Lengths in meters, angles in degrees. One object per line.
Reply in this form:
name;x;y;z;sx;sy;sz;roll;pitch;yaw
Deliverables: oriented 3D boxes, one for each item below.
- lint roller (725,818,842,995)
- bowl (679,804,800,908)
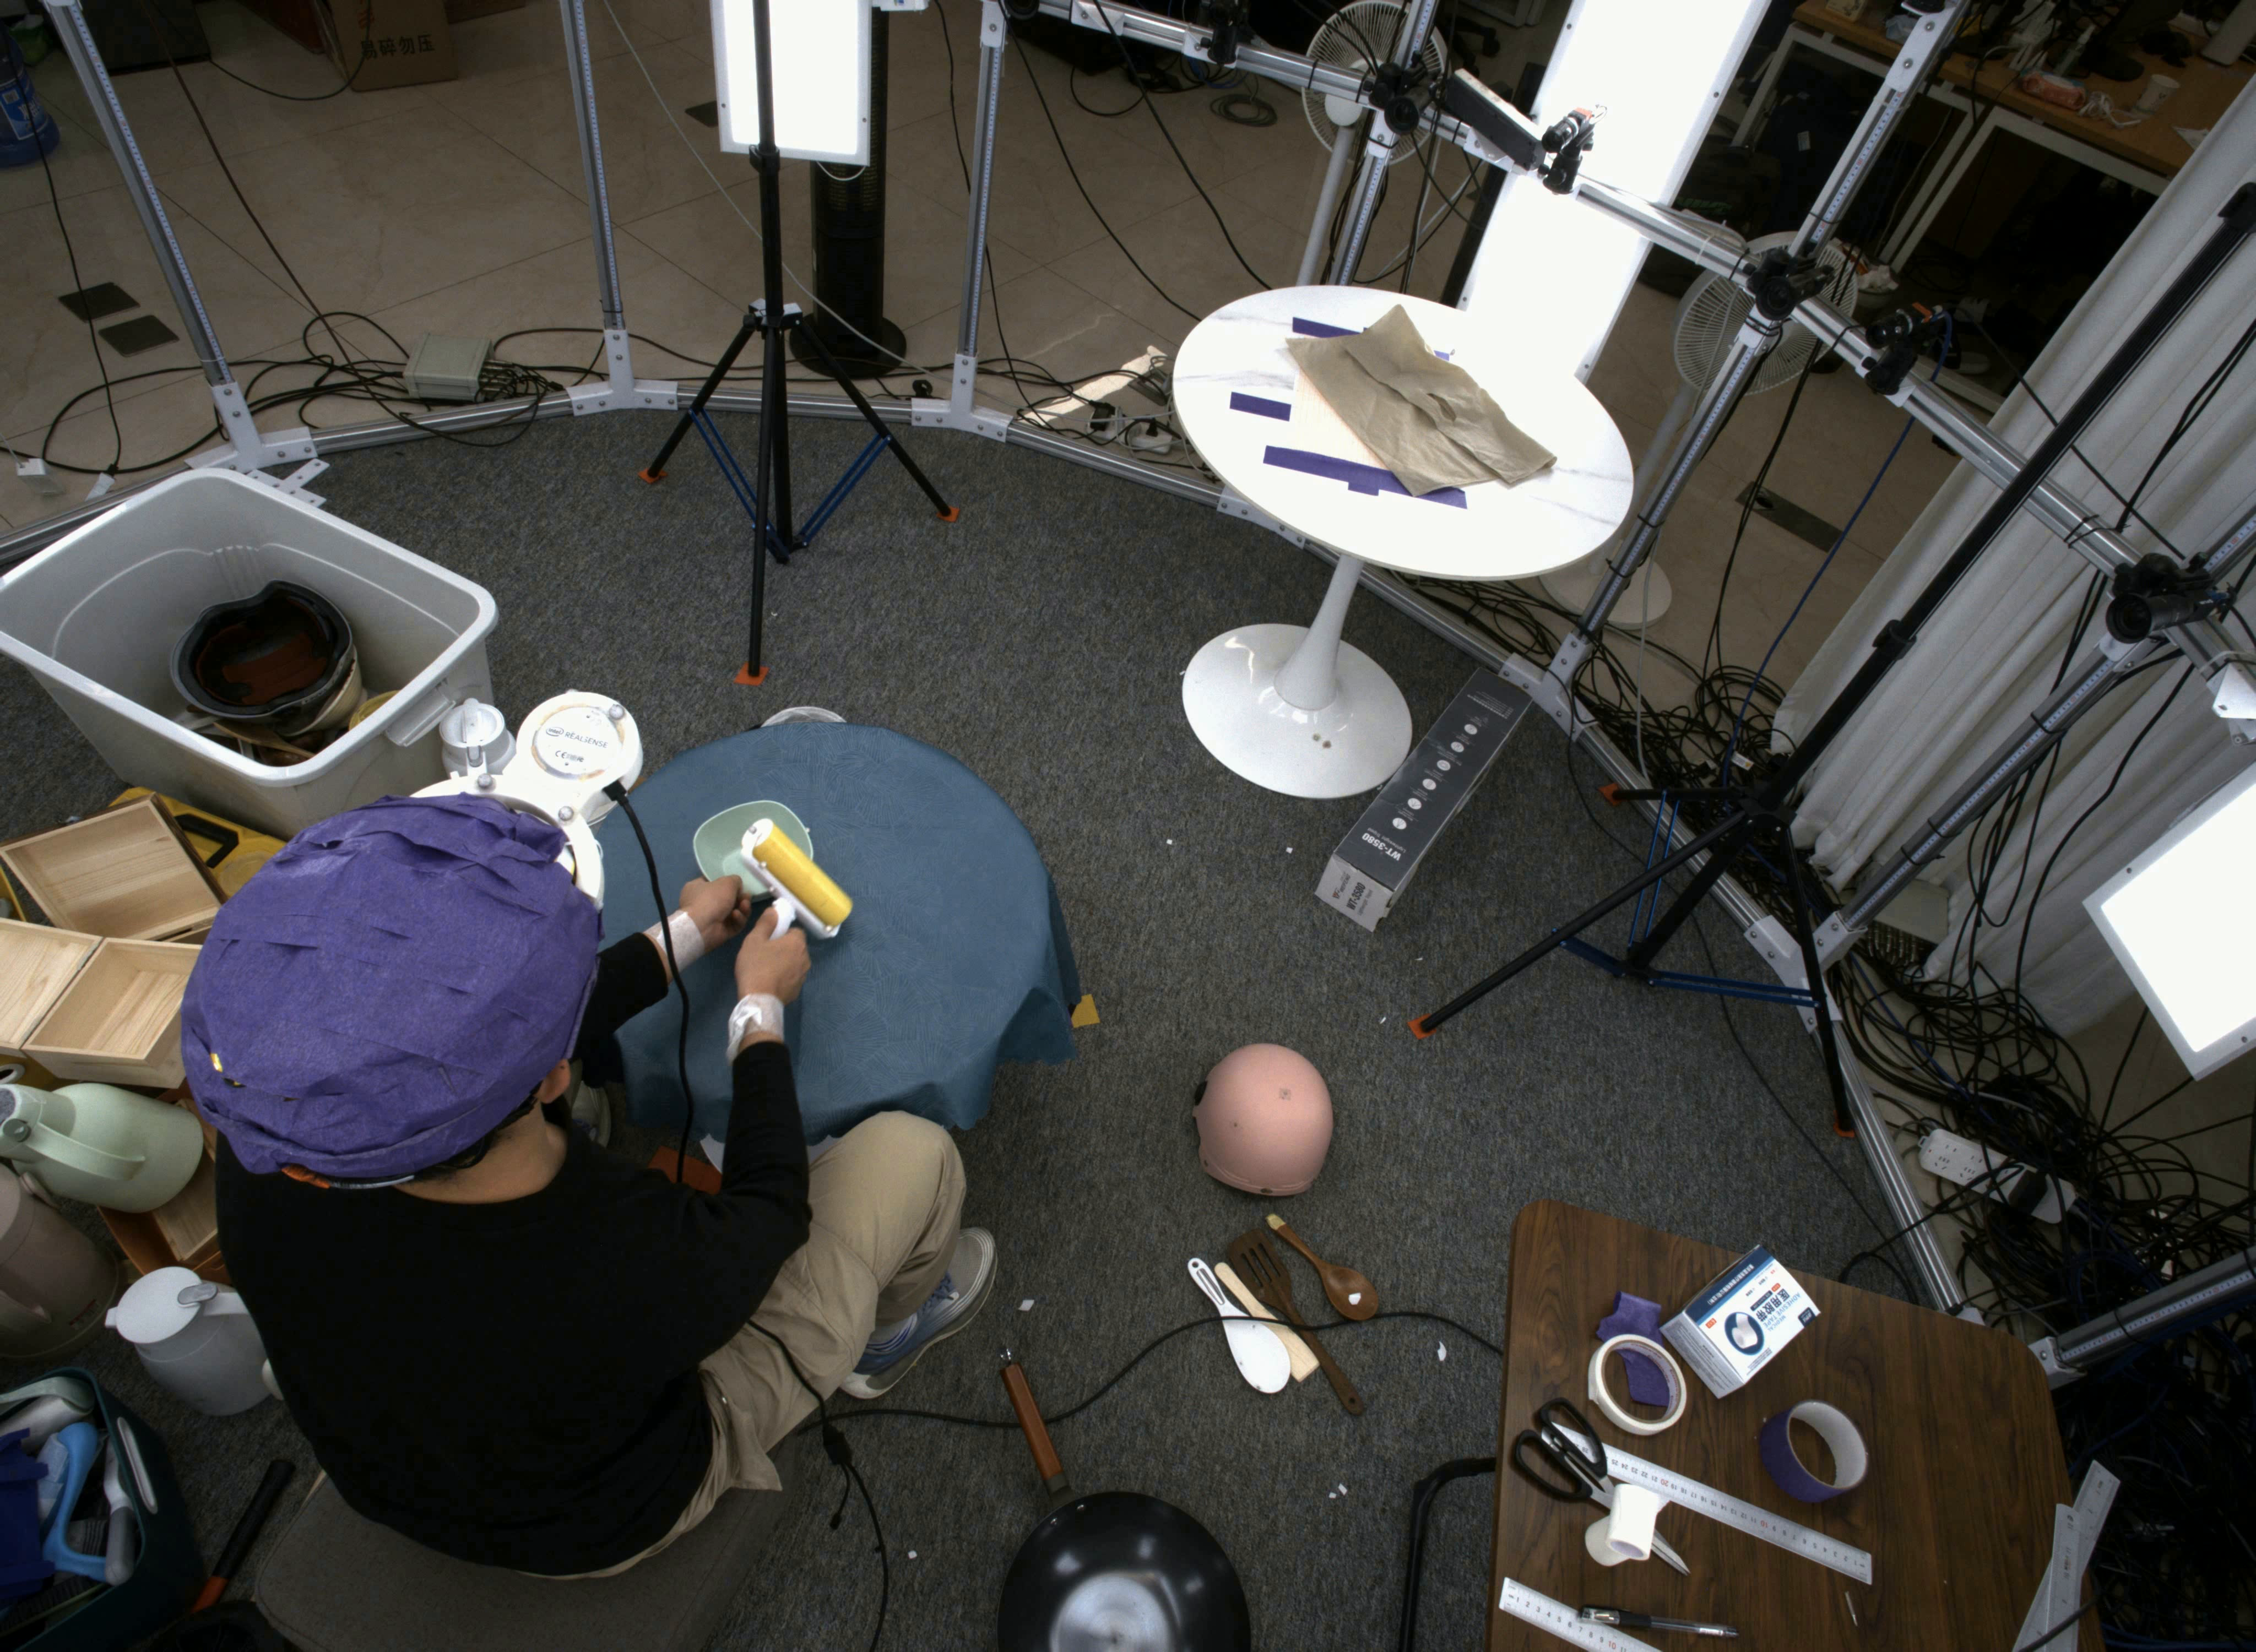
lint roller;-0.411;0.109;1.521;0.050;0.181;0.187;-22;45;17
bowl;-0.485;0.046;1.624;0.151;0.060;0.149;7;53;-7
